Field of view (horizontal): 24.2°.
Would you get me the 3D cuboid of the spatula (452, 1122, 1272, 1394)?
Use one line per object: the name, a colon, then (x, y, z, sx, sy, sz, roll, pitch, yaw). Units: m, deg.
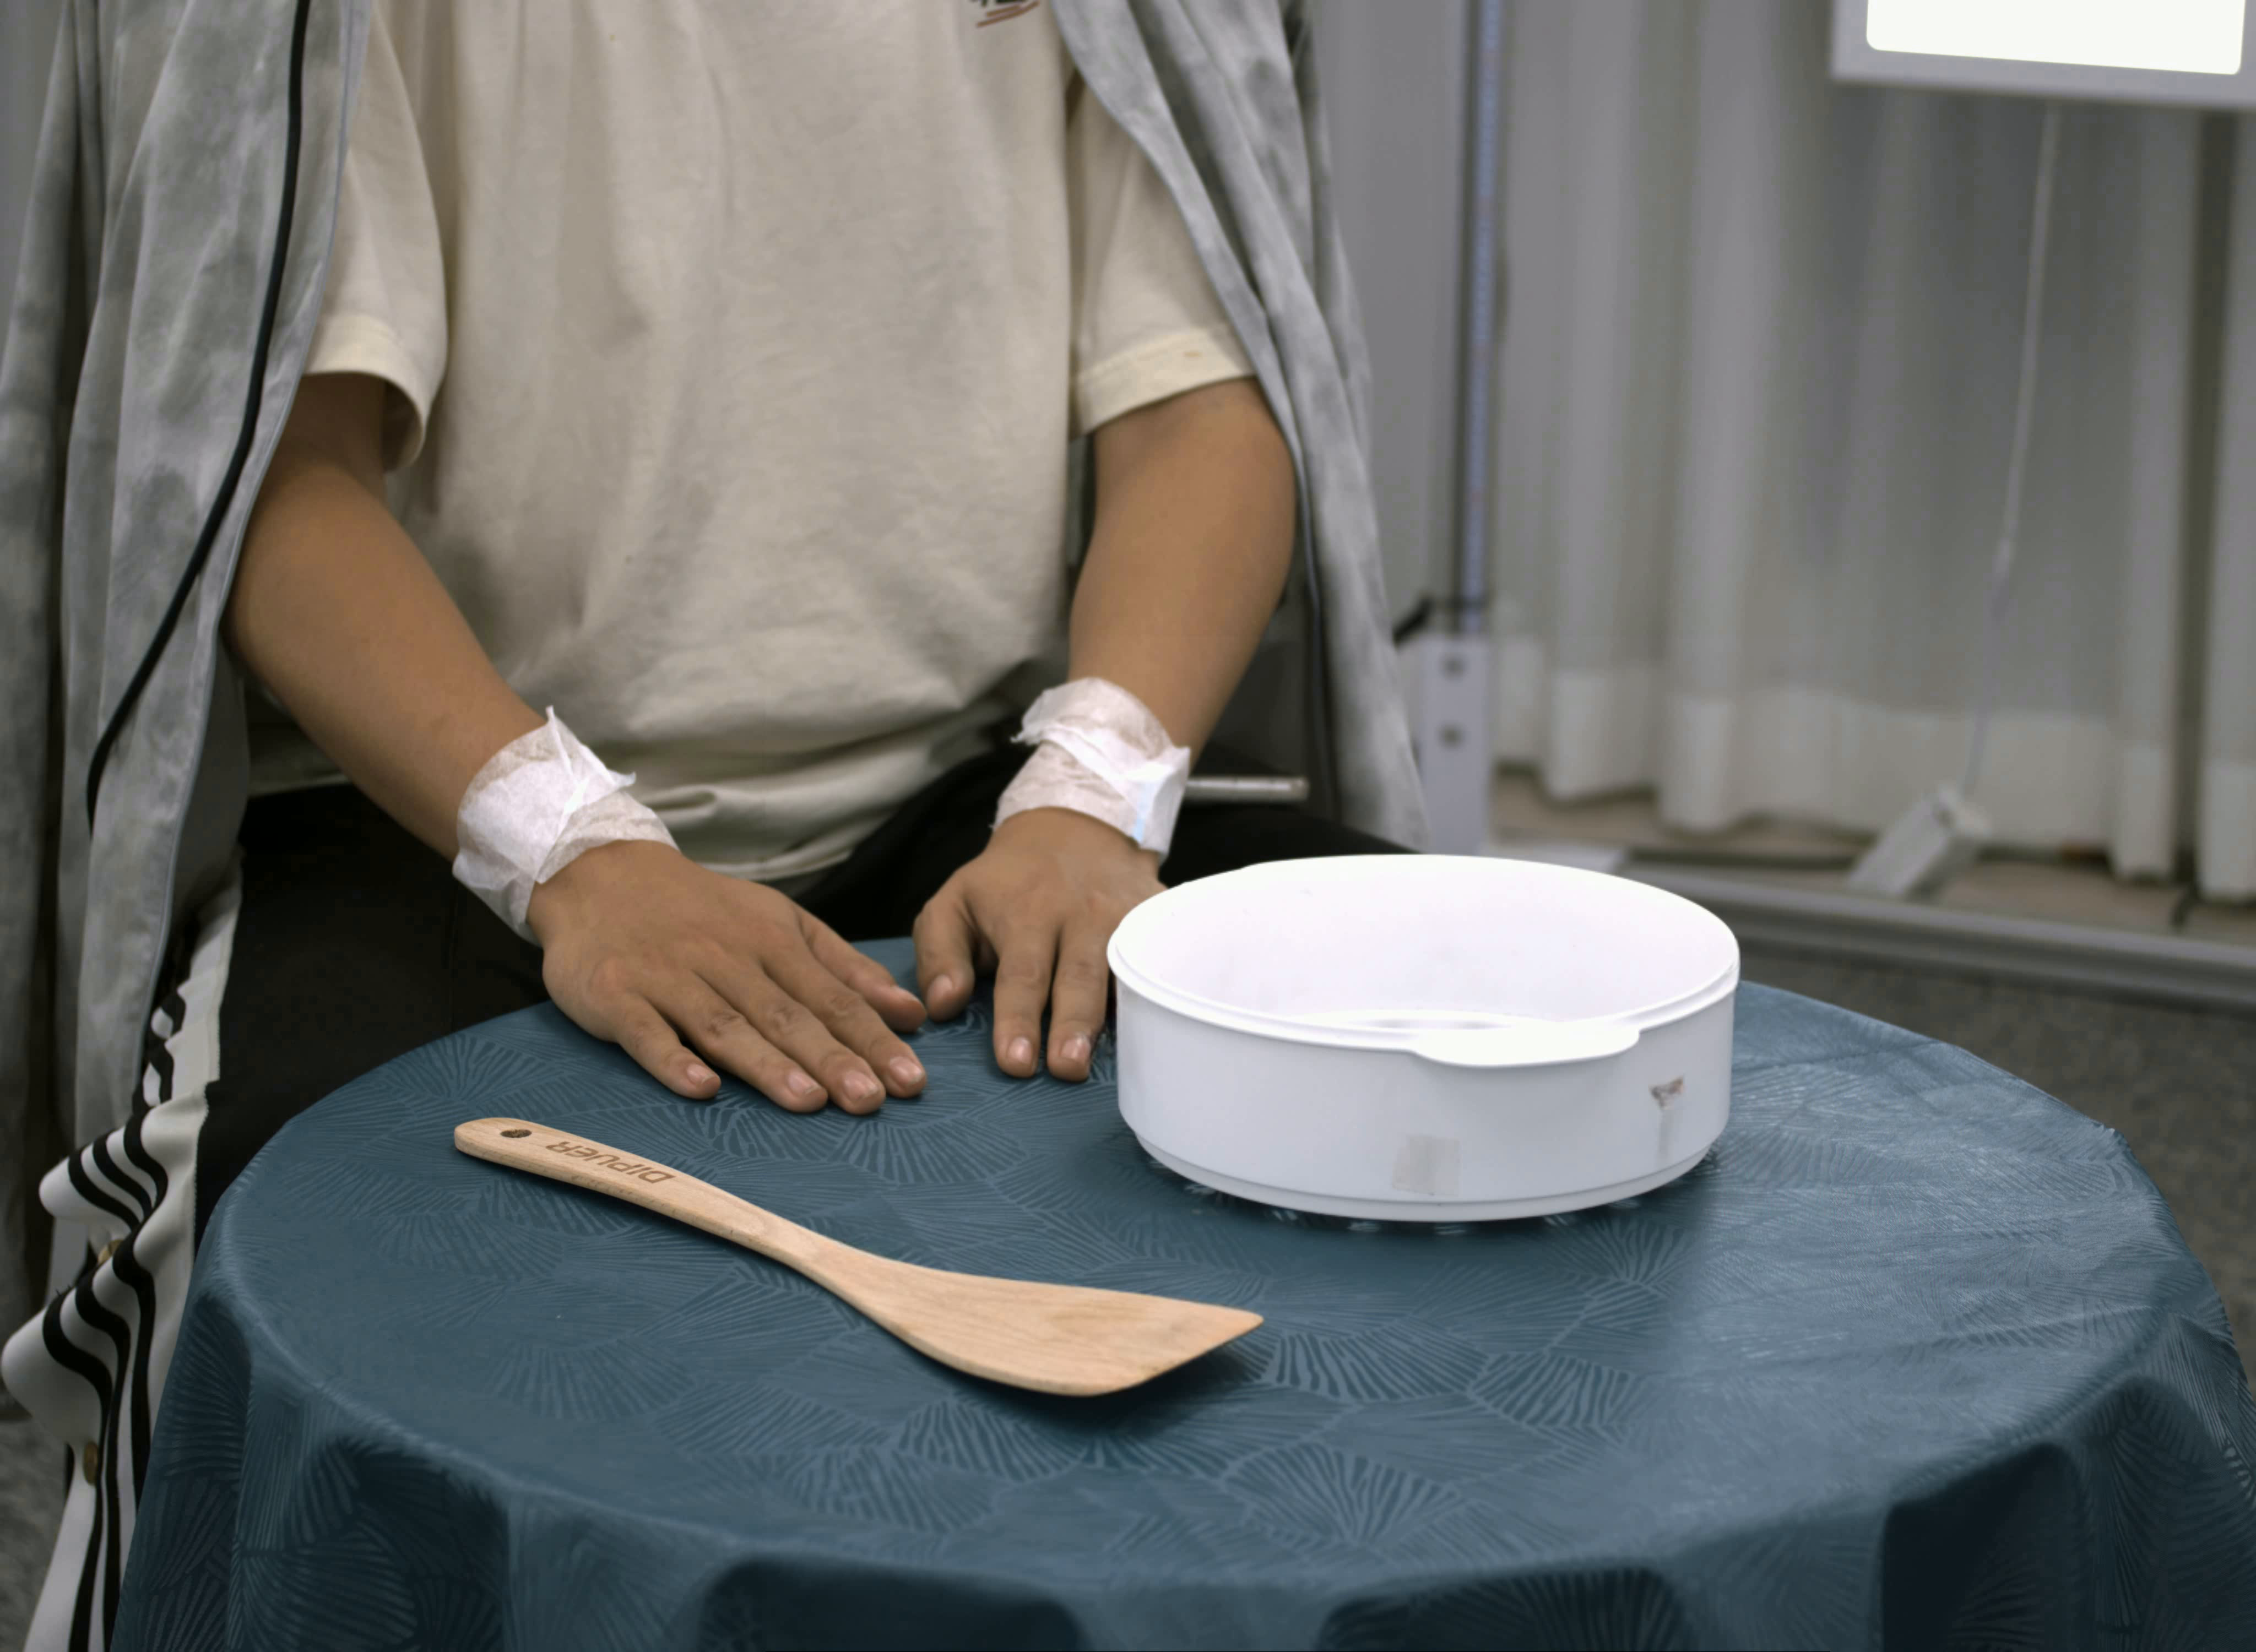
spatula: (-0.091, 0.122, 1.554, 0.323, 0.016, 0.080, 14, 20, 42)

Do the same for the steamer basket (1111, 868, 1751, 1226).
steamer basket: (0.095, 0.069, 1.663, 0.202, 0.070, 0.228, -2, 15, -15)
